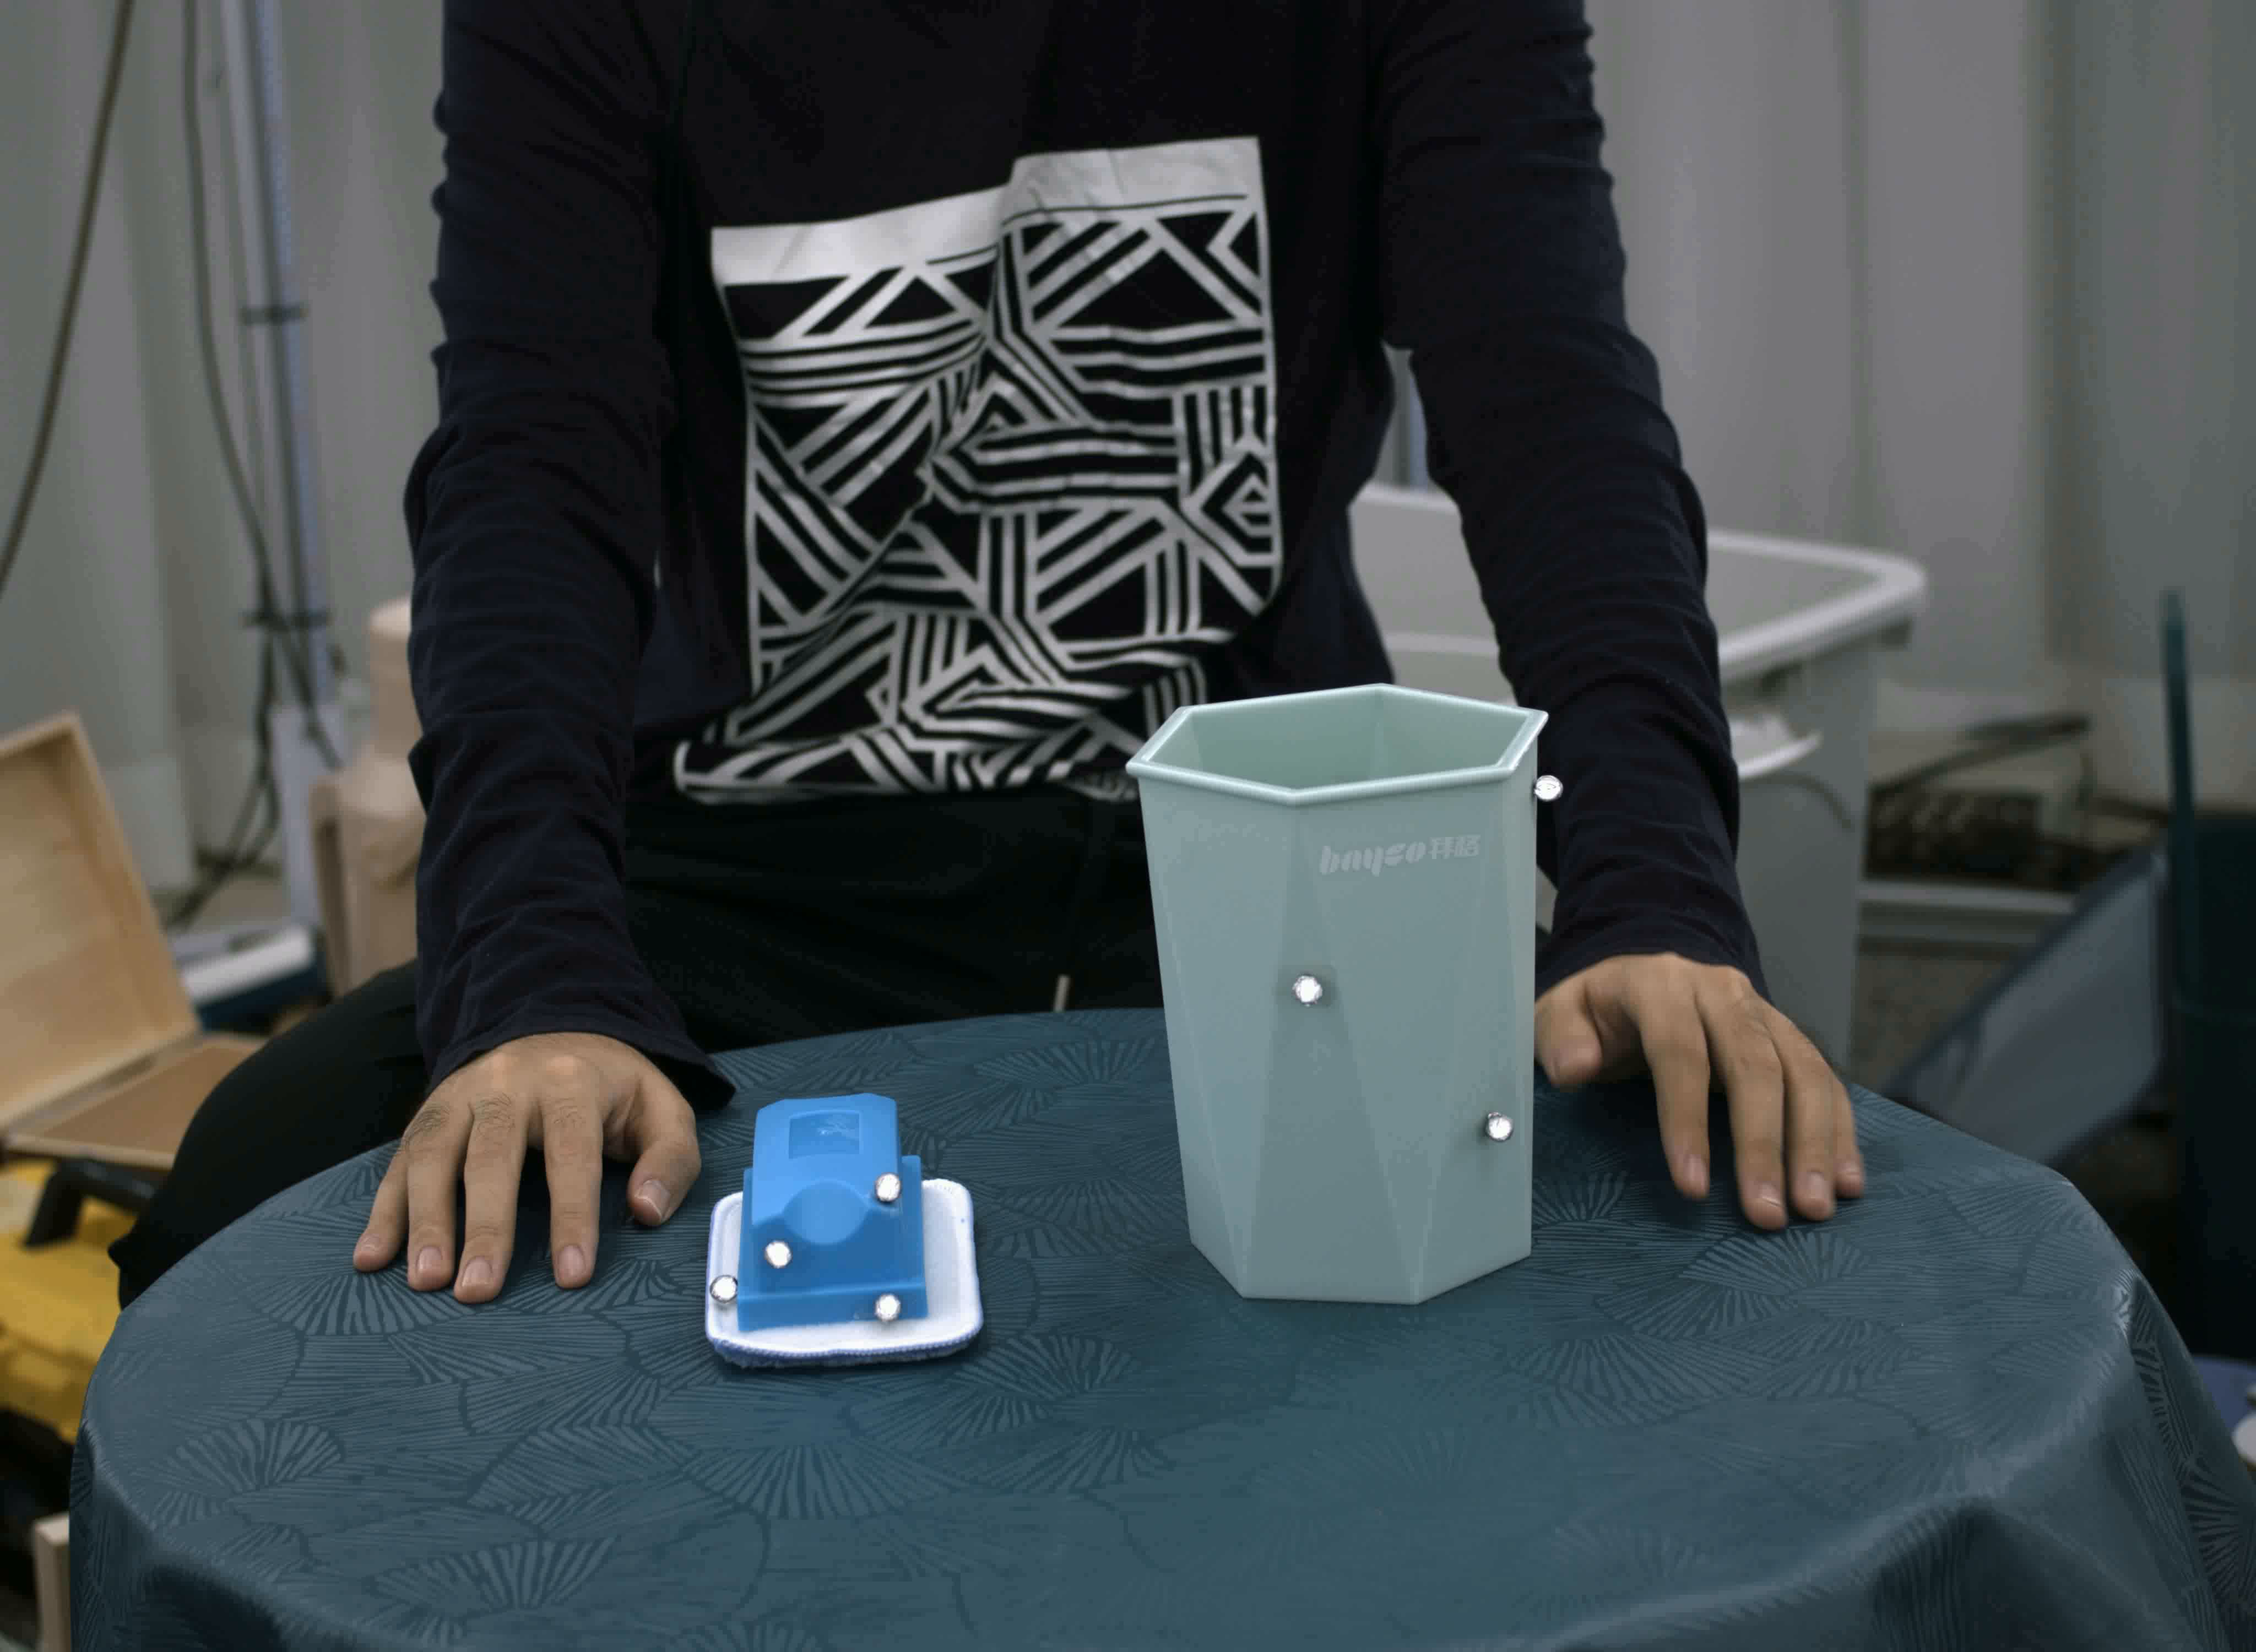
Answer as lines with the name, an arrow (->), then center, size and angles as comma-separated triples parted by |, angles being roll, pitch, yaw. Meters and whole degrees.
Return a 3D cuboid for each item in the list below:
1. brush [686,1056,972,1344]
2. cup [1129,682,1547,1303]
brush -> -0.089, 0.109, 1.637 | 0.083, 0.055, 0.145 | 0, 18, -1
cup -> 0.067, 0.050, 1.631 | 0.130, 0.162, 0.116 | -8, 14, -16
